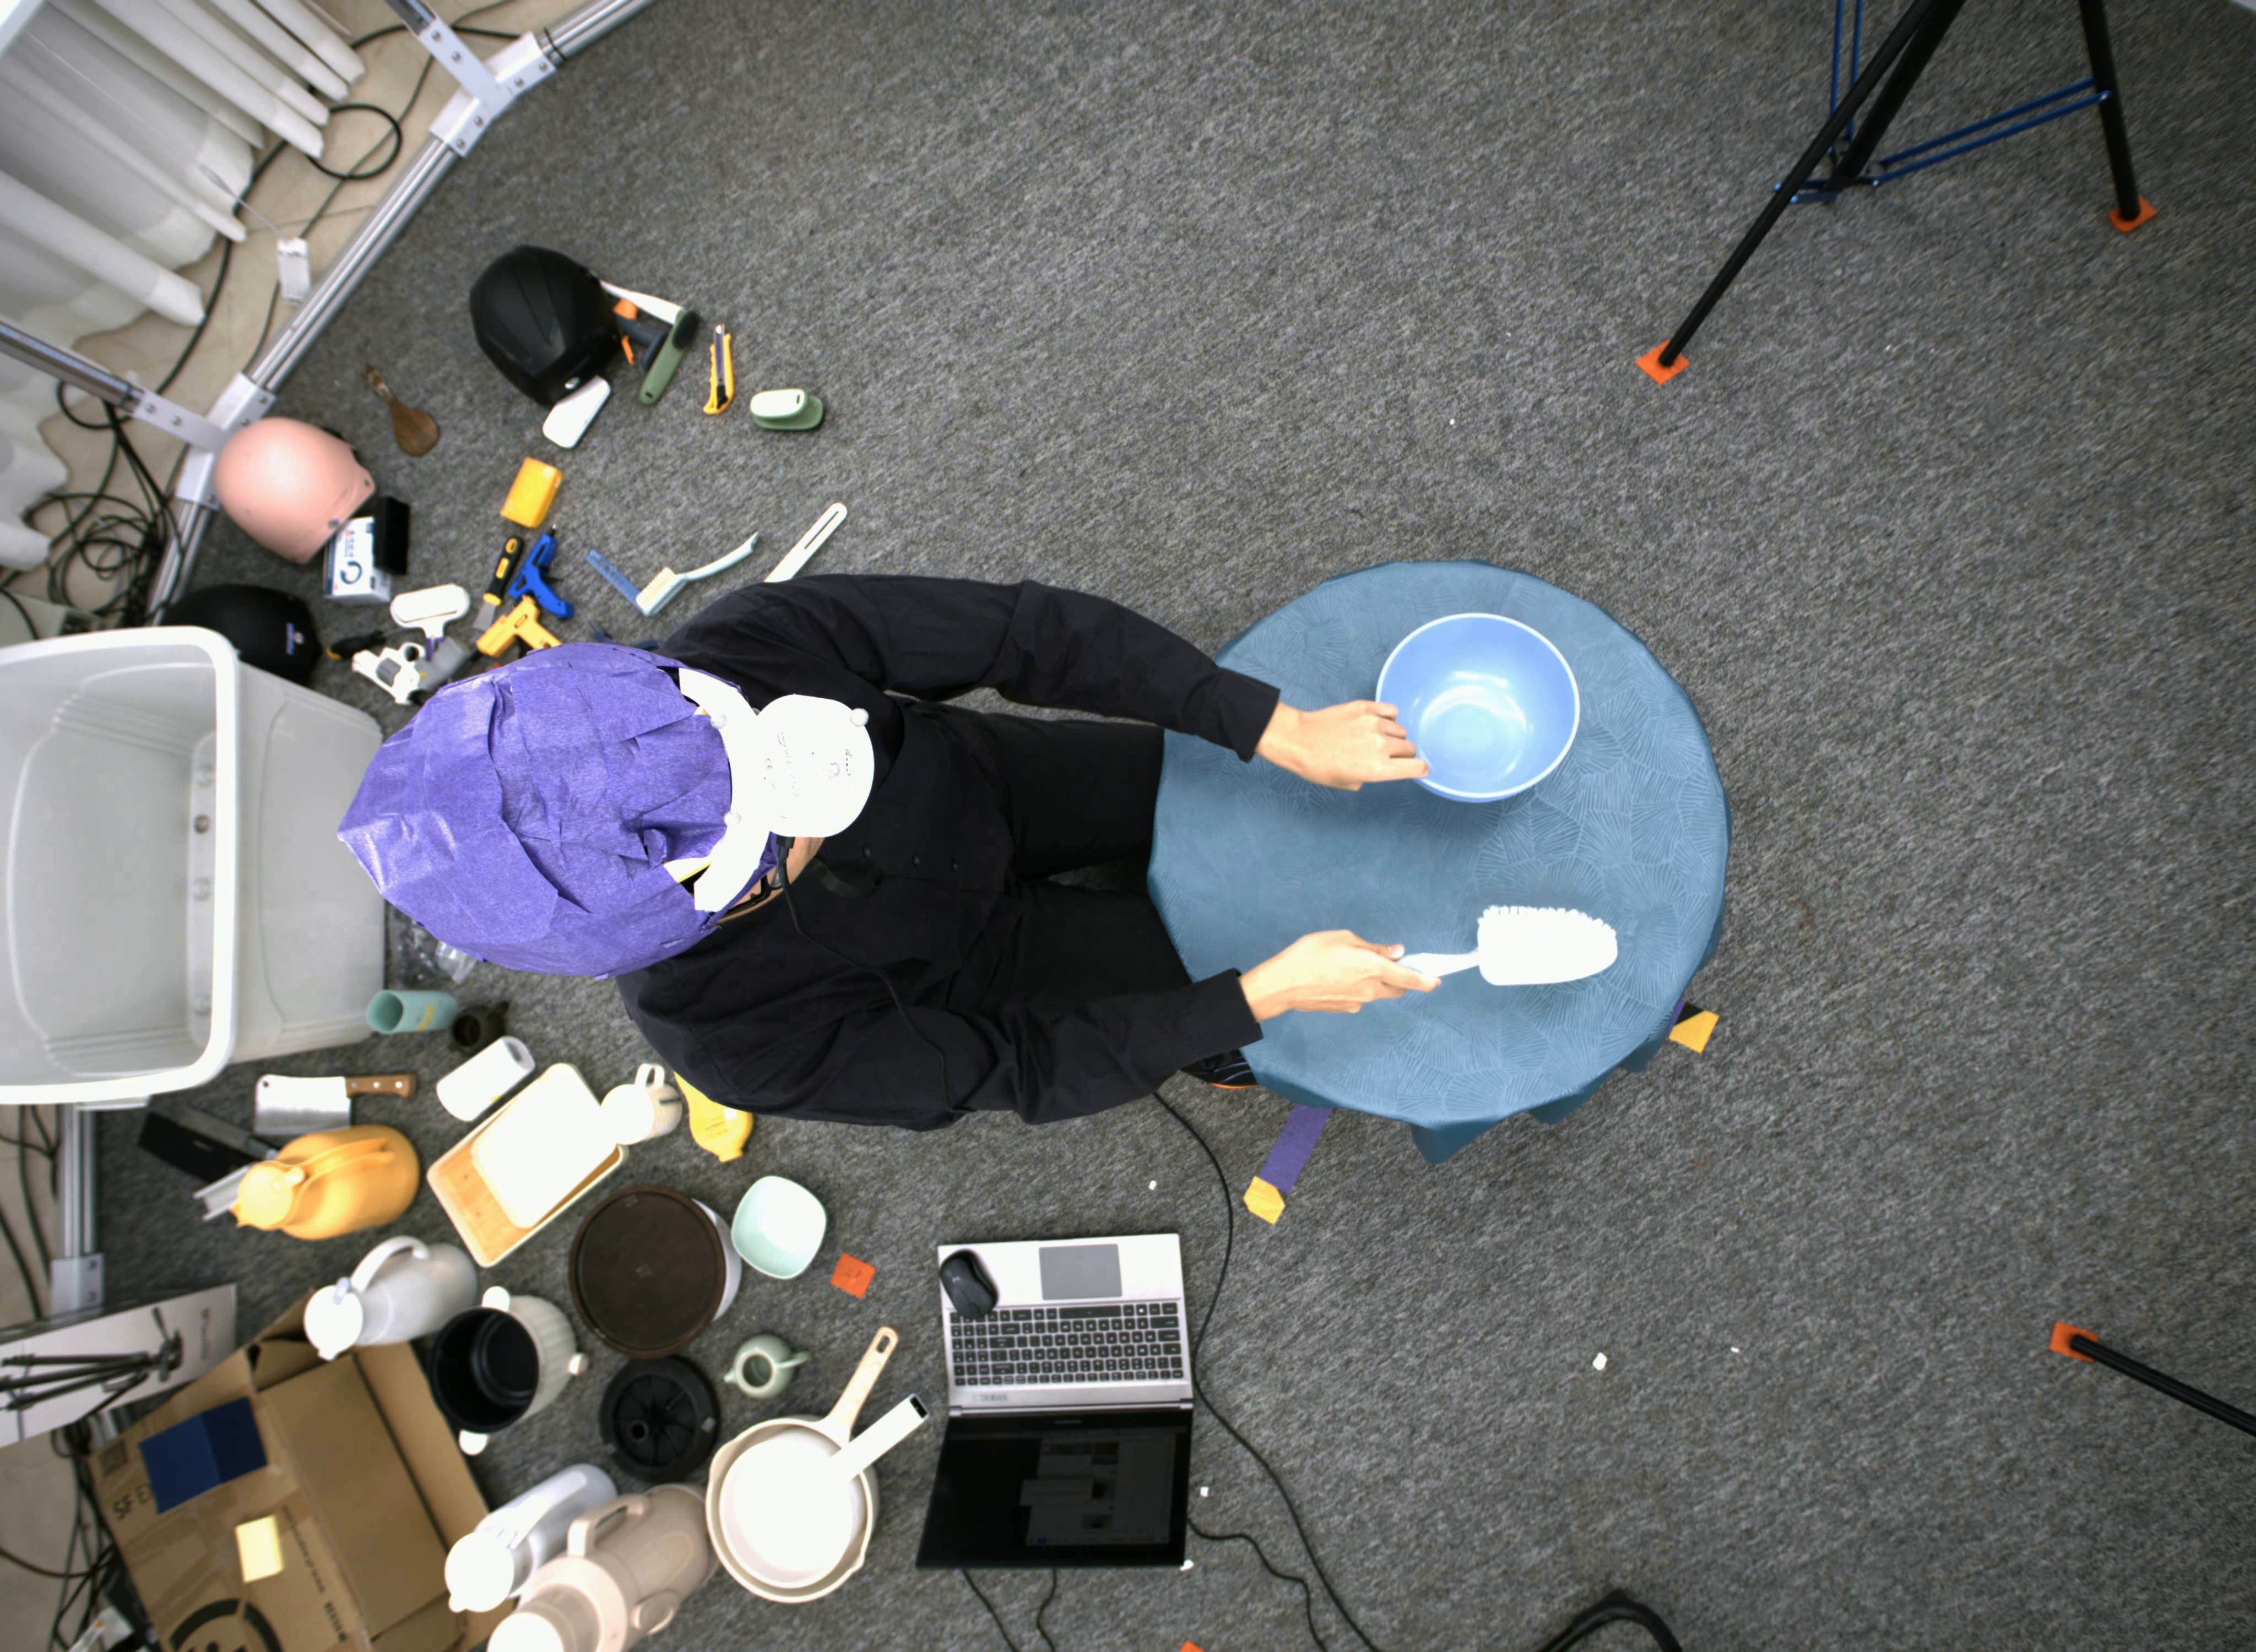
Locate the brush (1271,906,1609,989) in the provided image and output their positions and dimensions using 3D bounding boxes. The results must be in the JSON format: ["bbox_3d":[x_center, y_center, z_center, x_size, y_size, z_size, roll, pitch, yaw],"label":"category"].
[{"bbox_3d":[0.301,0.118,1.344,0.326,0.086,0.081,-5,64,7],"label":"brush"}]

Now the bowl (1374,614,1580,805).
[{"bbox_3d":[0.345,-0.105,1.373,0.197,0.096,0.193,-3,74,9],"label":"bowl"}]
